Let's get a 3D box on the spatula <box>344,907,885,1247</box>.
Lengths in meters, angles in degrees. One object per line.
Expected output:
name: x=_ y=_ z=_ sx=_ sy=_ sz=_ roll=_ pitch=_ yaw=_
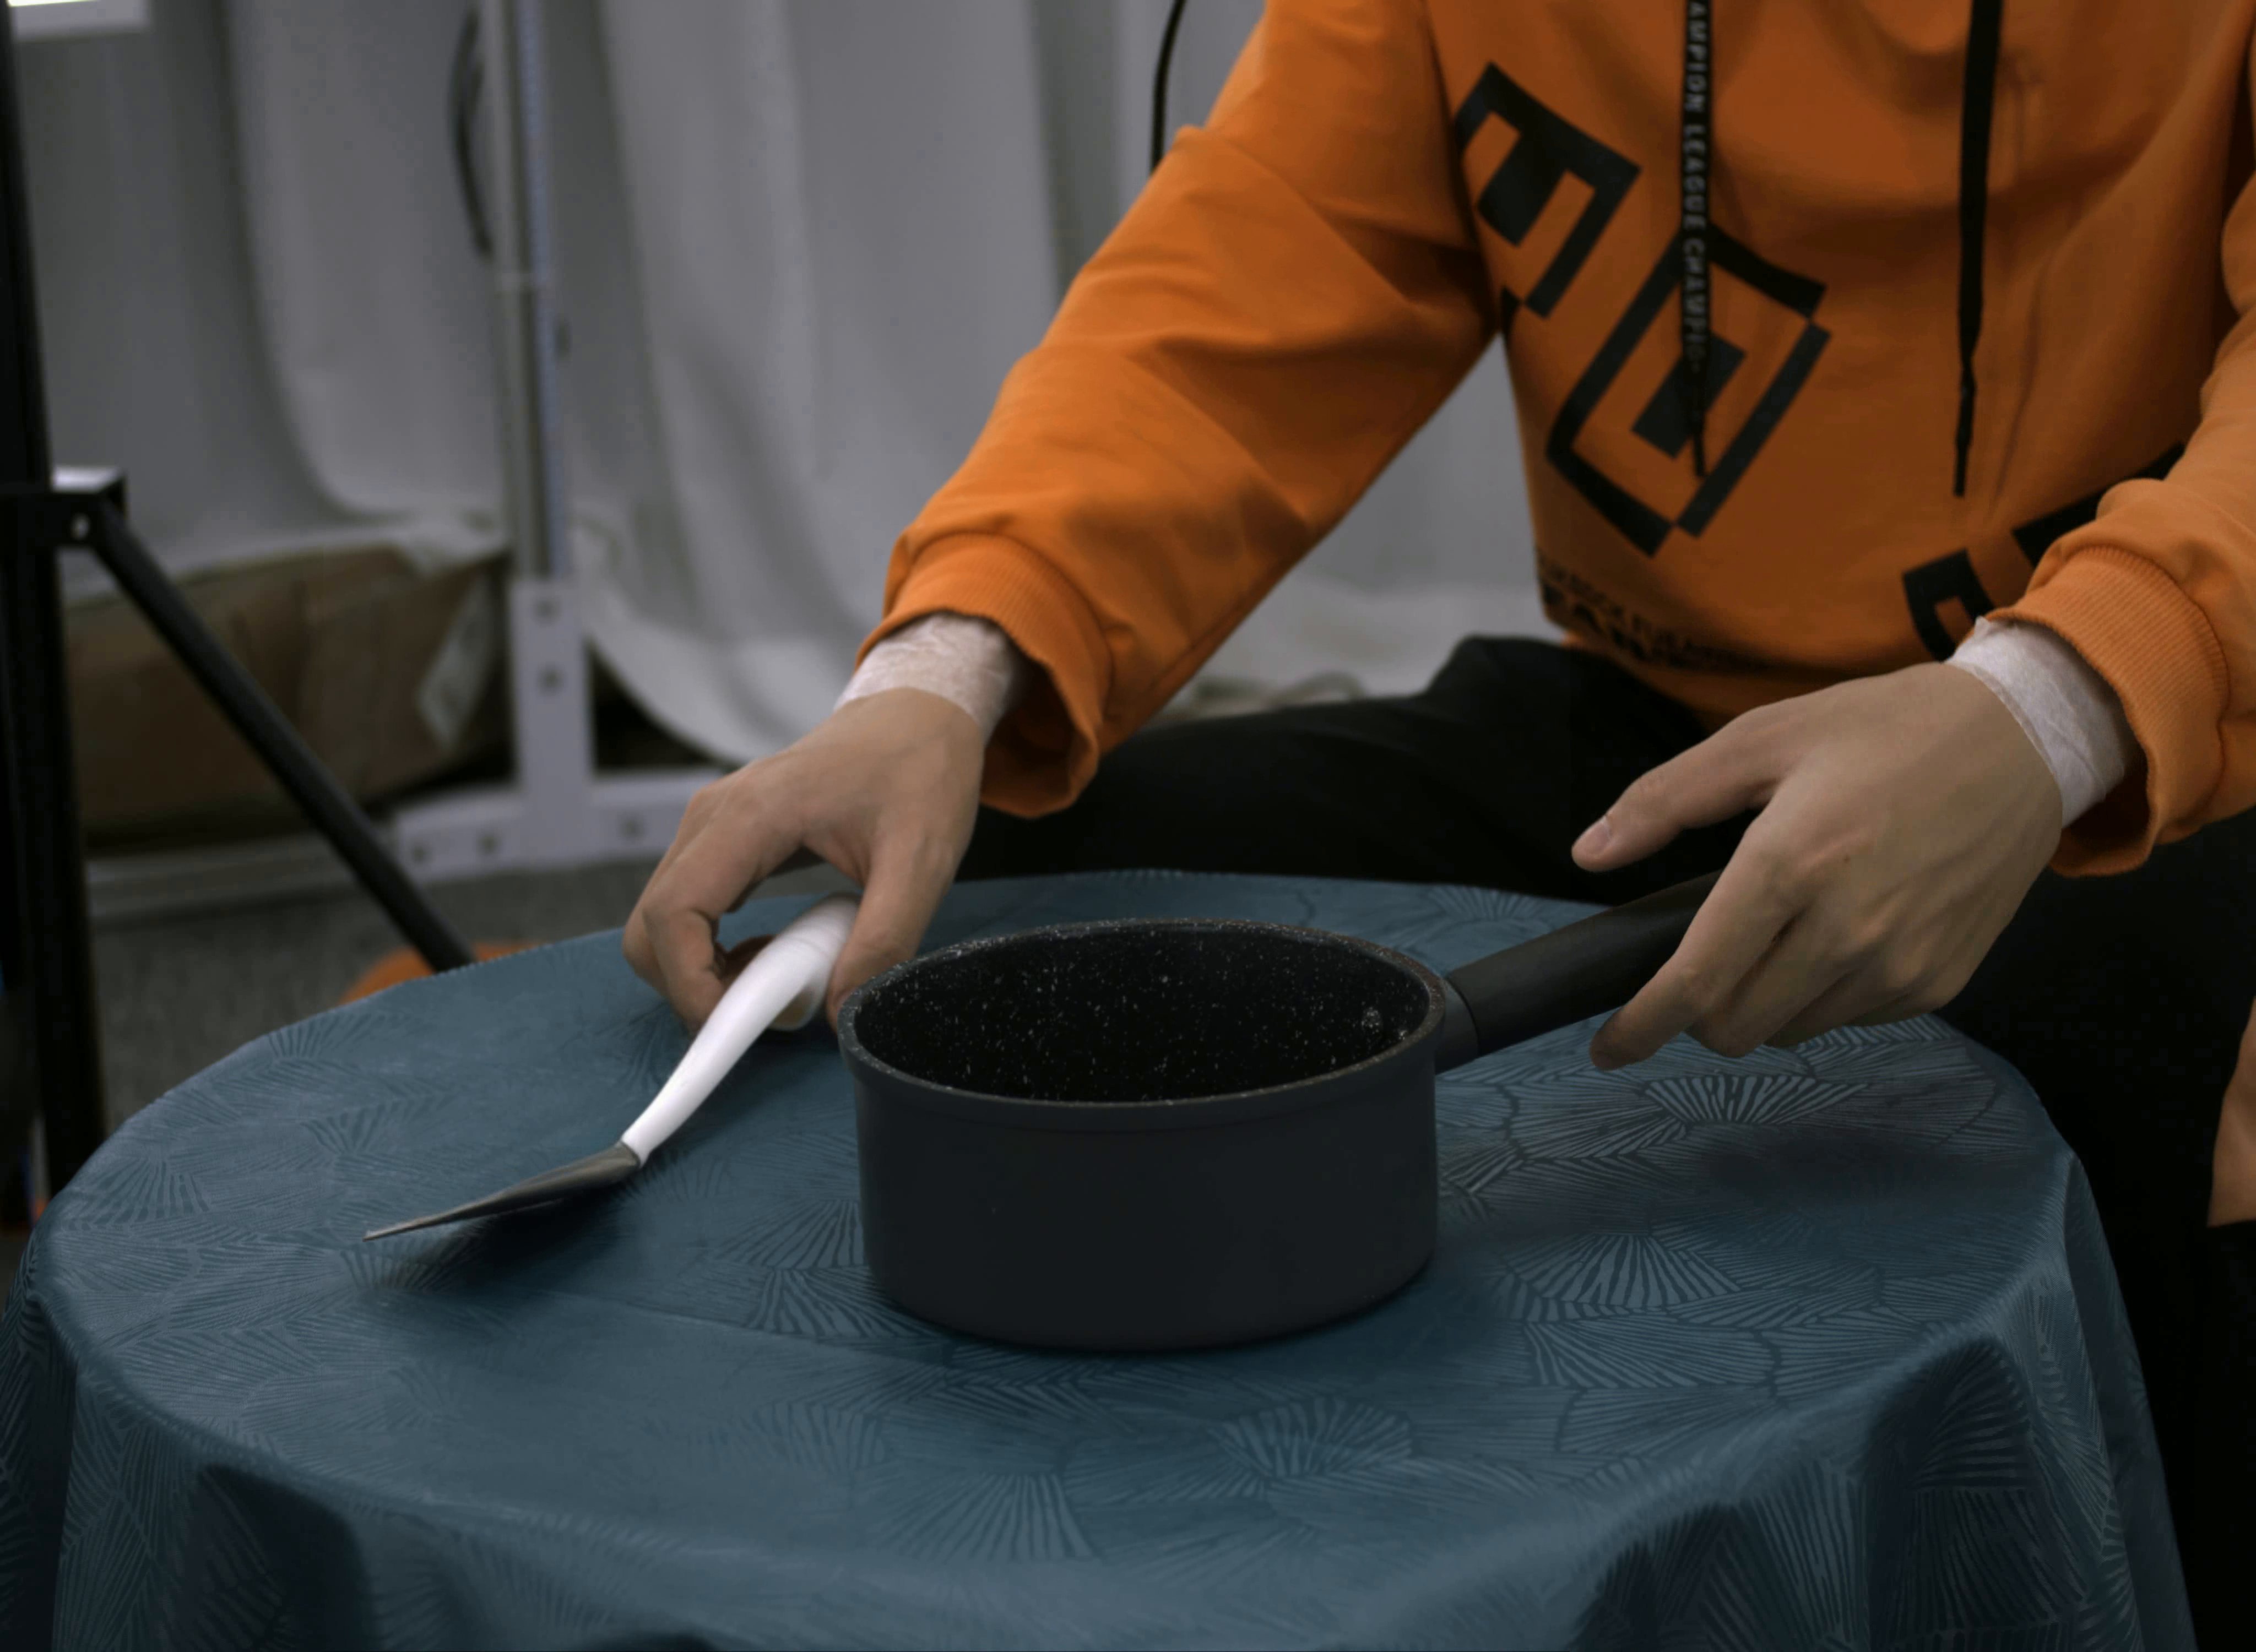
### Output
spatula: x=-0.145 y=0.080 z=1.620 sx=0.059 sy=0.032 sz=0.284 roll=-16 pitch=10 yaw=26

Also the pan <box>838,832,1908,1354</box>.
pan: x=0.077 y=0.071 z=1.520 sx=0.323 sy=0.086 sz=0.175 roll=-10 pitch=18 yaw=-20
